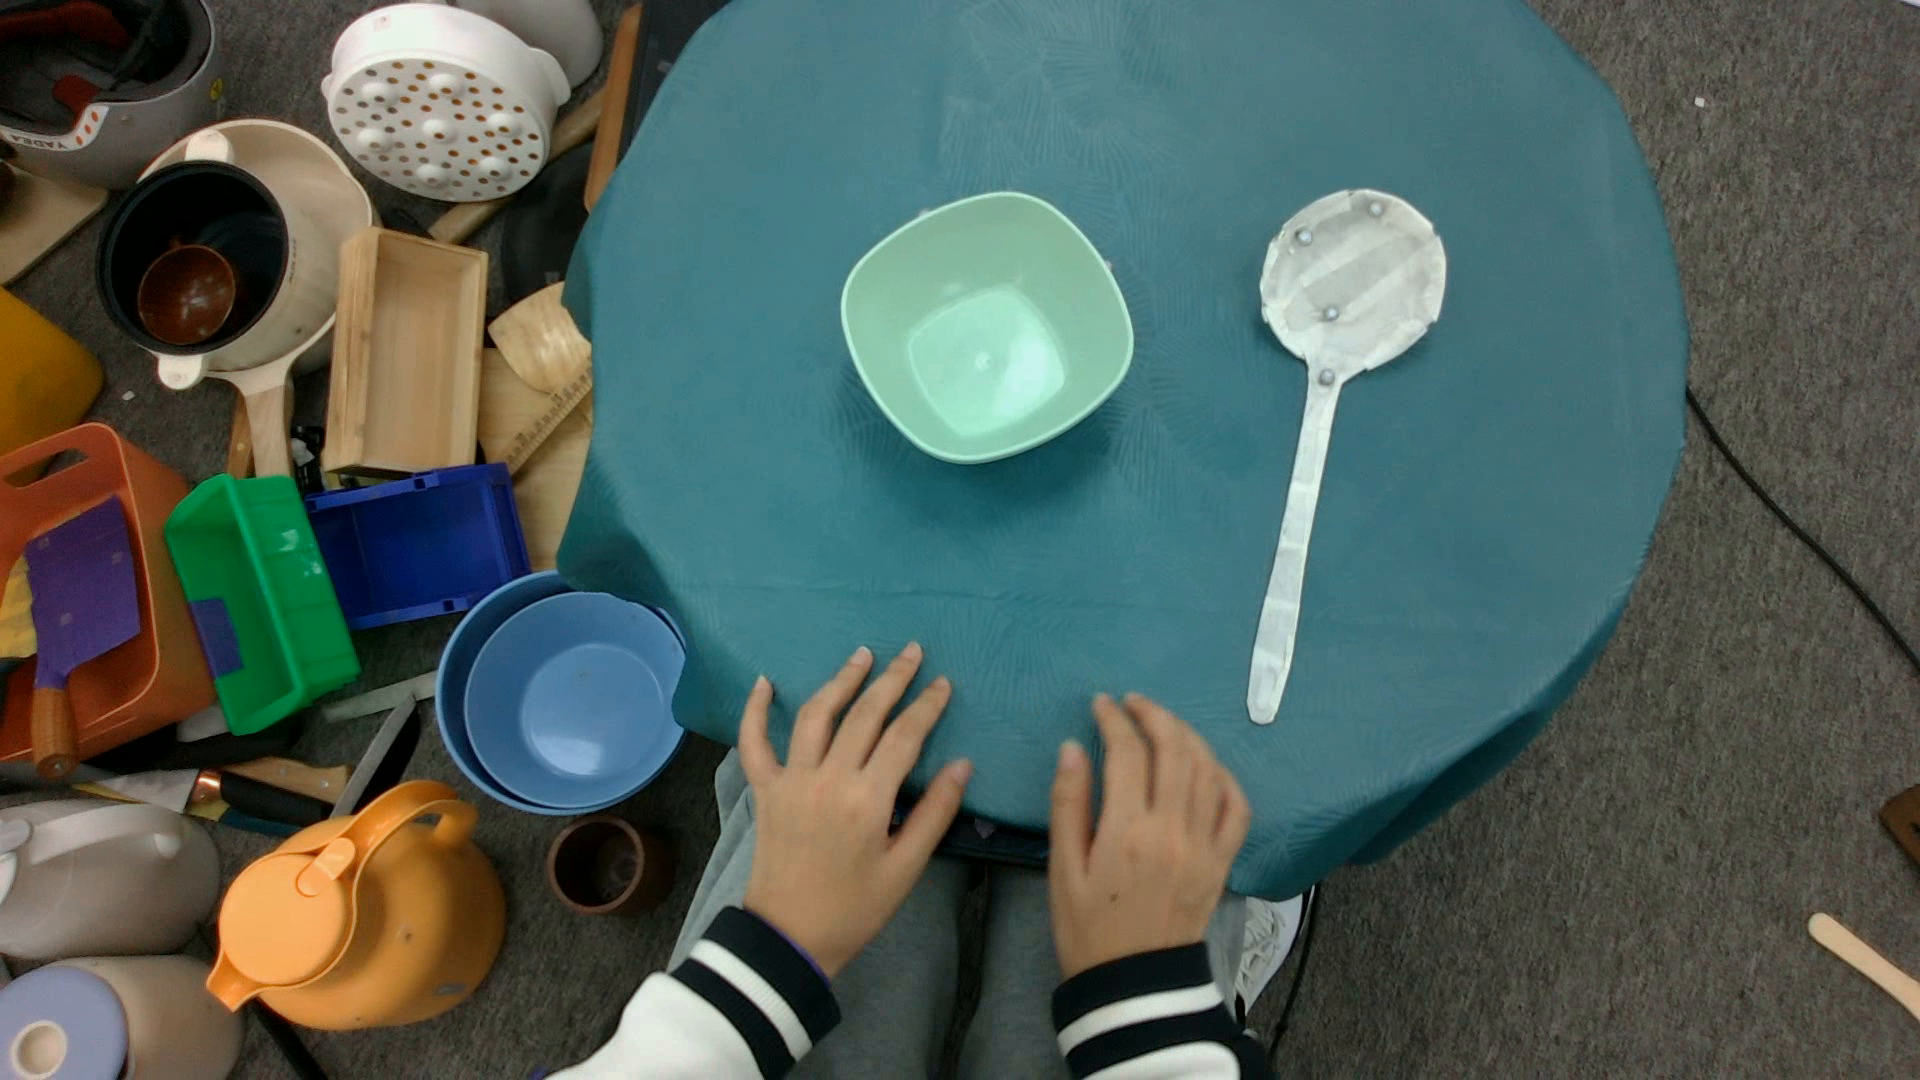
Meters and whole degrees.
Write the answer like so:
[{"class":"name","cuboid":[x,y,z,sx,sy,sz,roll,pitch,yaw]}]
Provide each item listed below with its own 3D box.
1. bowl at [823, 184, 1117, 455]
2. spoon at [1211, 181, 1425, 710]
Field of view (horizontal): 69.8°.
[{"class":"bowl","cuboid":[0.005,-0.107,0.721,0.151,0.058,0.152,0,74,0]},{"class":"spoon","cuboid":[0.165,-0.051,0.703,0.100,0.059,0.278,15,74,9]}]
